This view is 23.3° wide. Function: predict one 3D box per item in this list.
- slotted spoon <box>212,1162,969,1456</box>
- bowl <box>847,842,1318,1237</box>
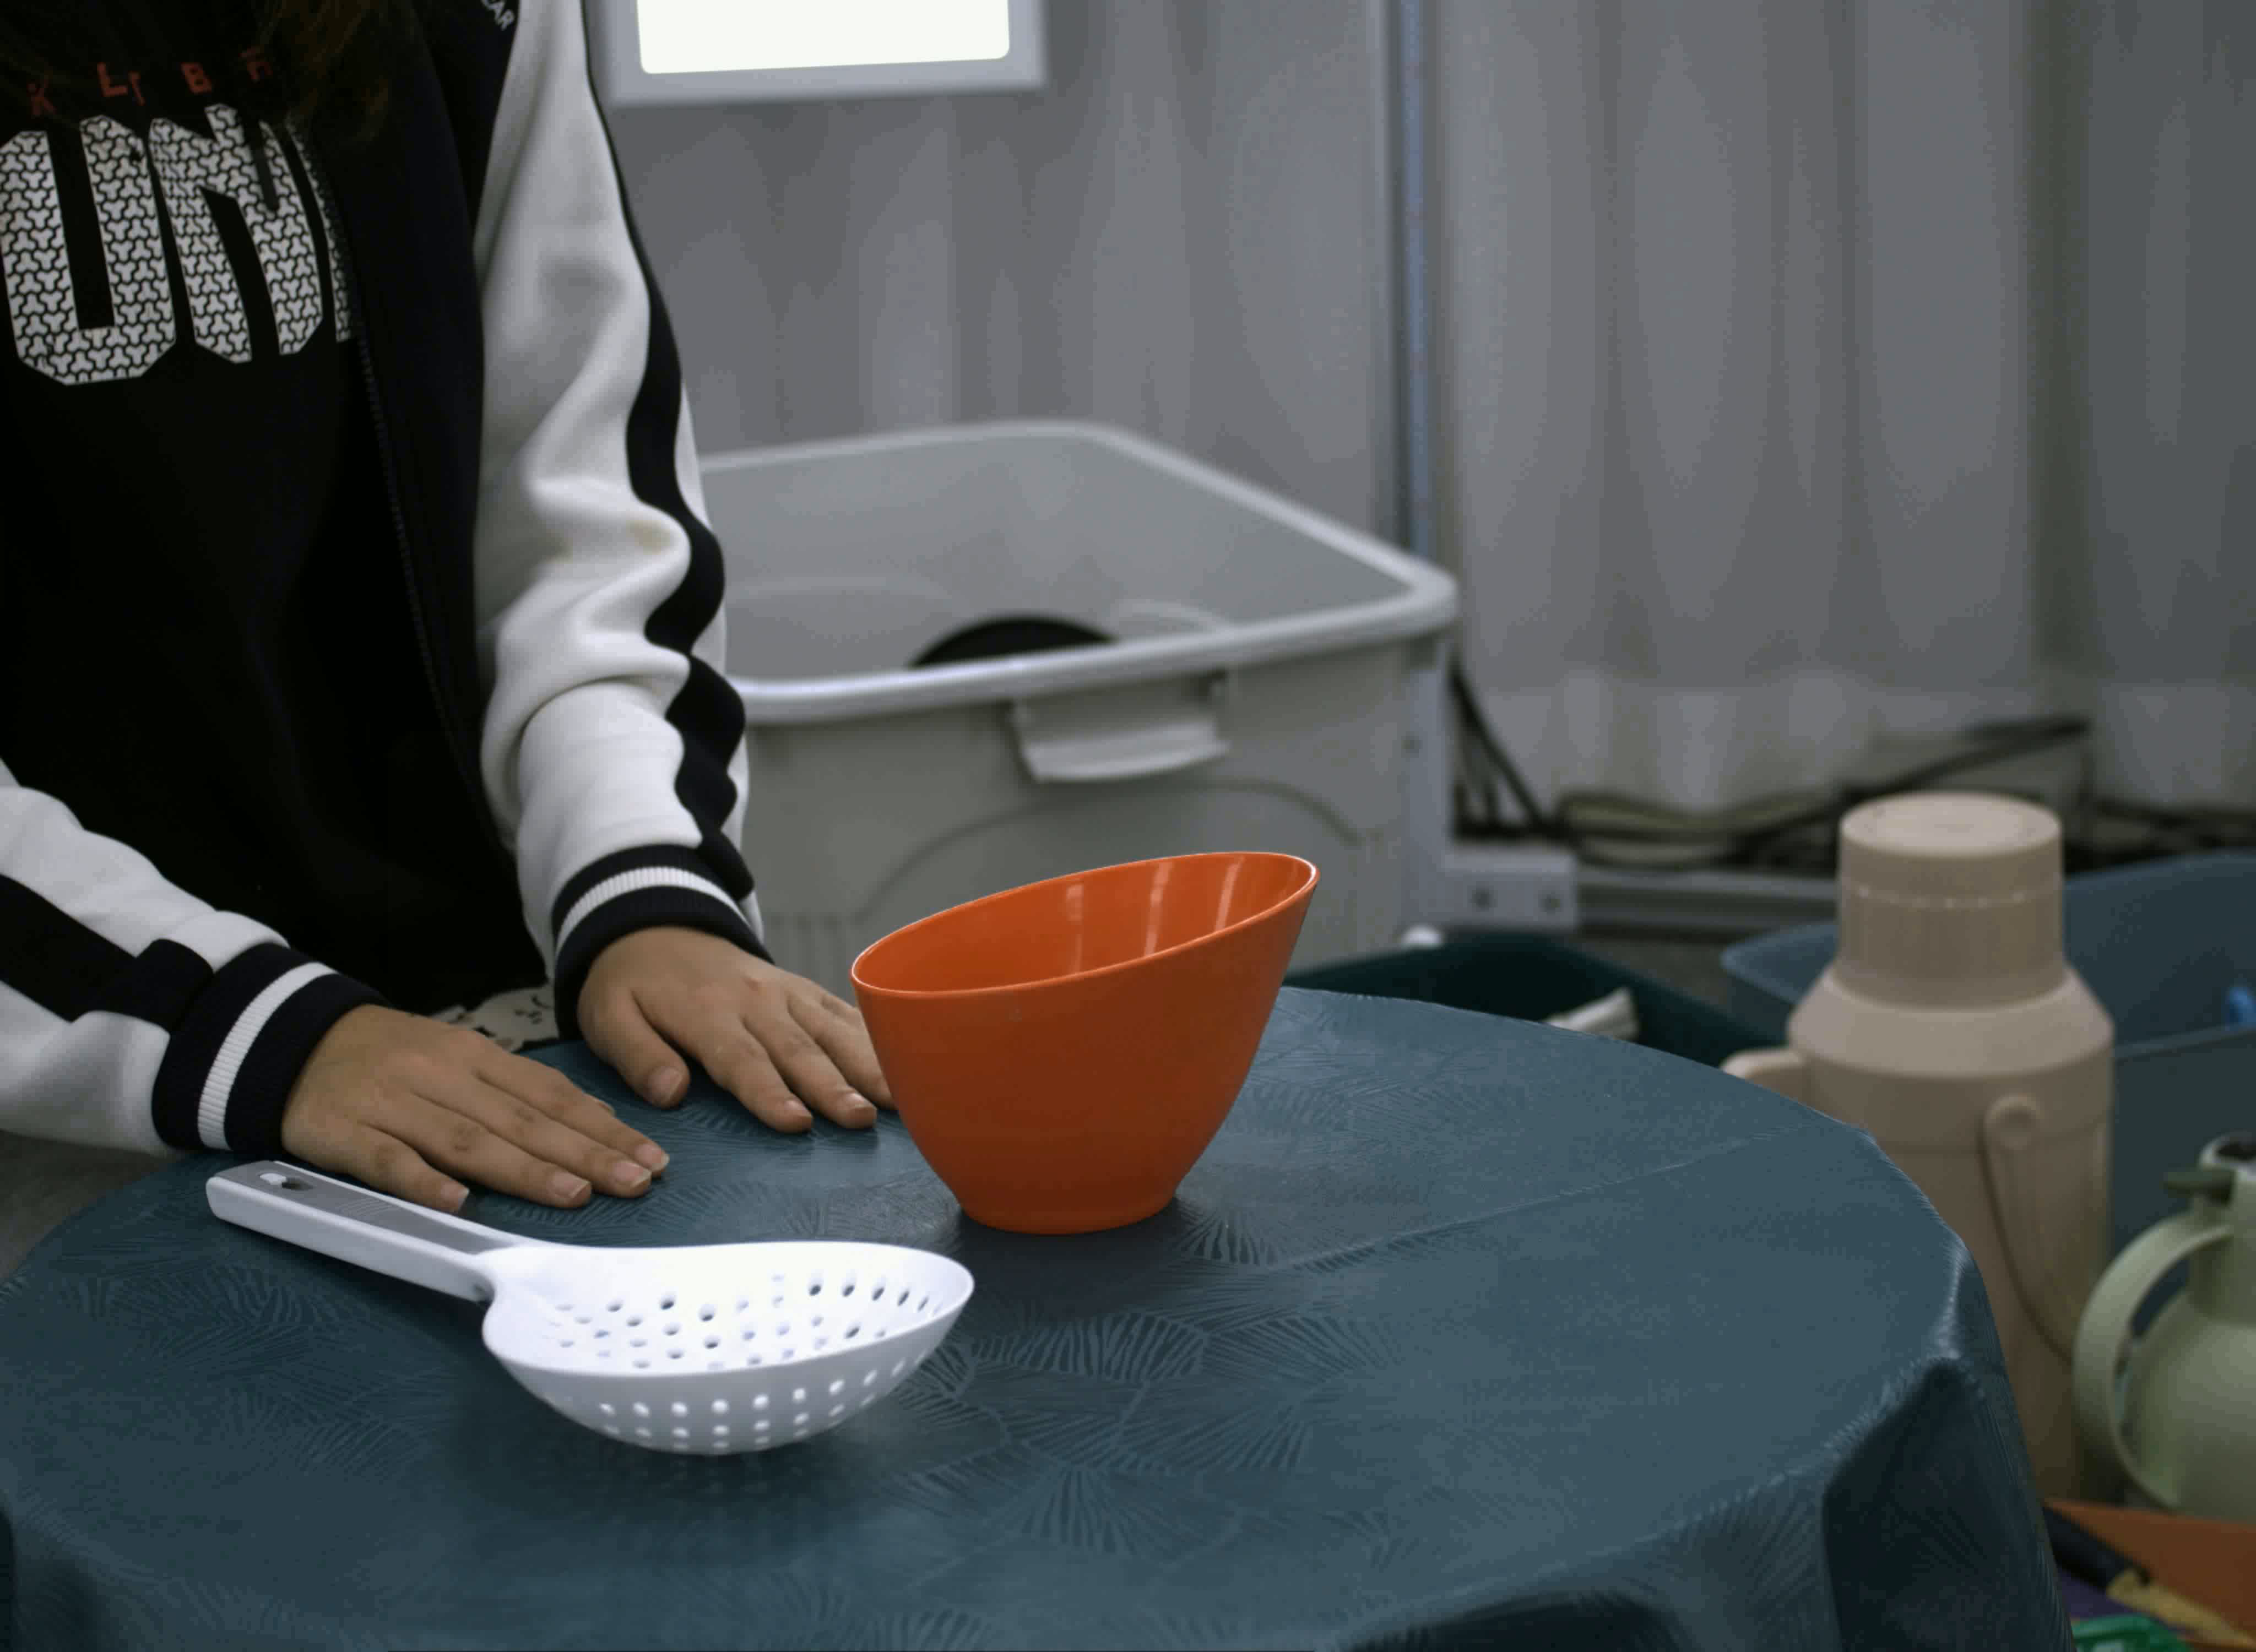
[{"bbox_3d":[-0.176,0.131,1.600,0.135,0.045,0.352,-11,16,-36],"label":"slotted spoon"},{"bbox_3d":[-0.011,0.068,1.692,0.147,0.104,0.149,-5,17,1],"label":"bowl"}]
